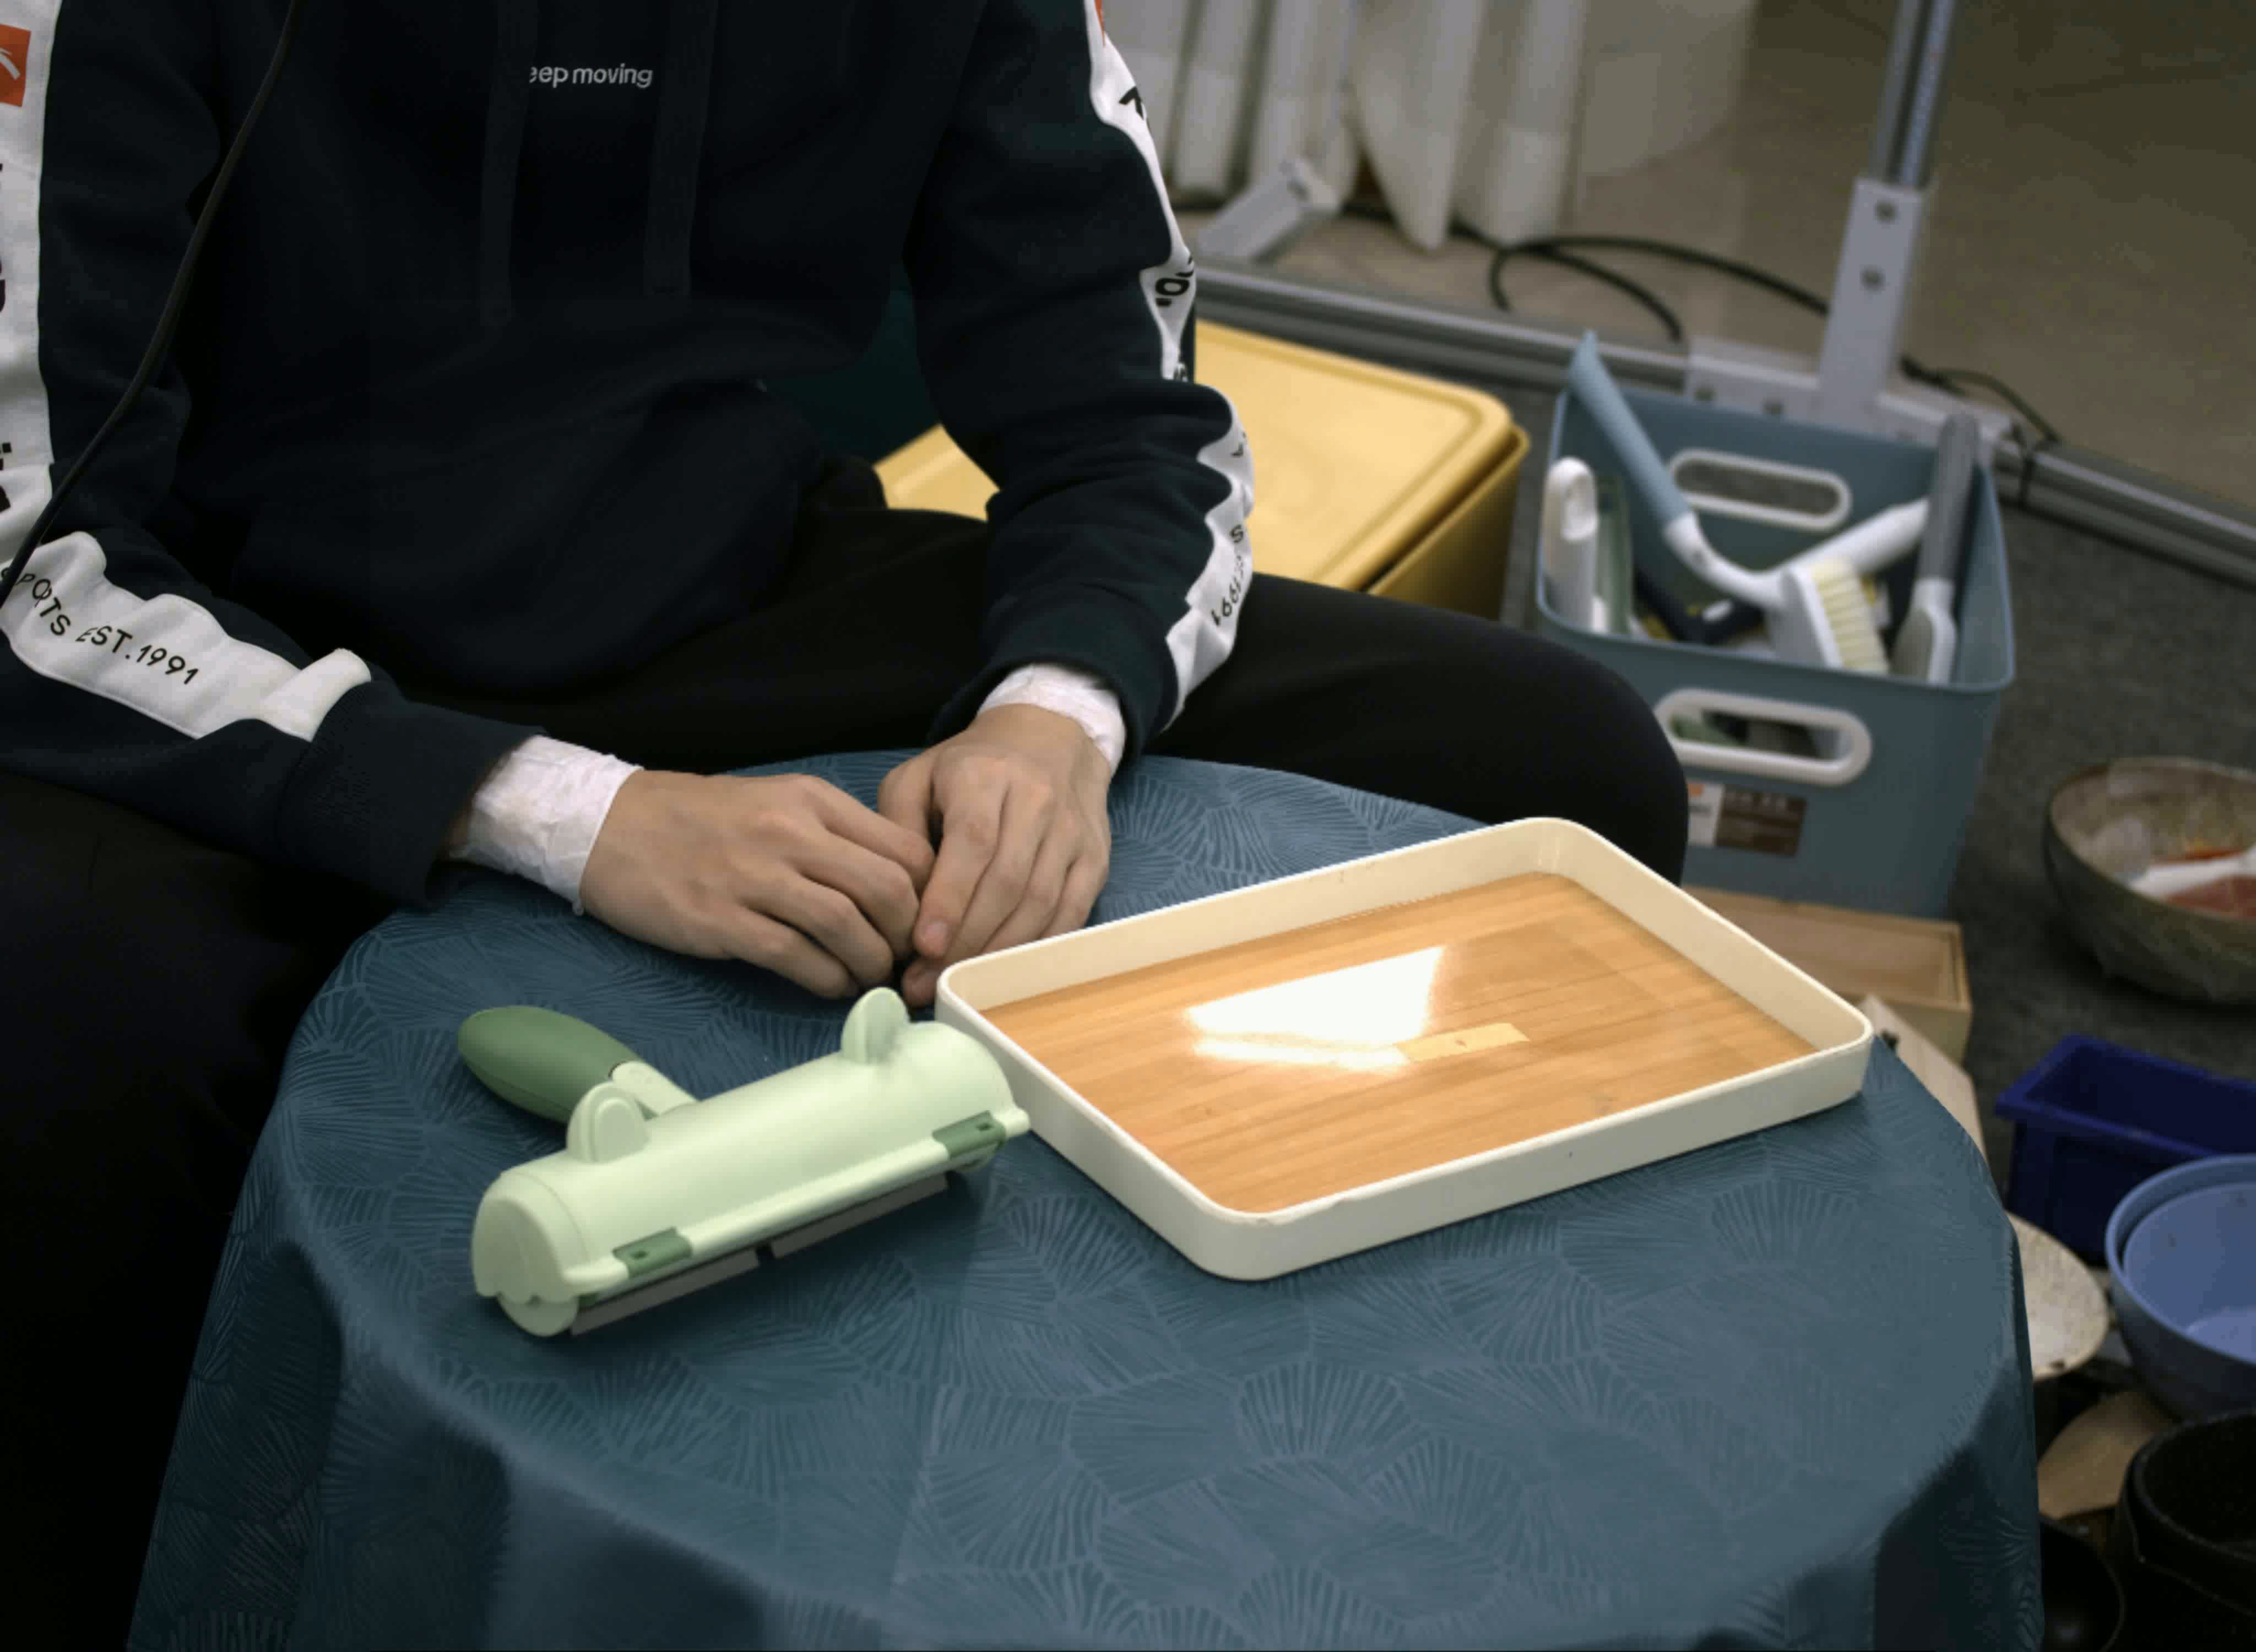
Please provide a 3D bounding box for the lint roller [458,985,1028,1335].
[{"bbox_3d":[-0.160,0.082,1.761,0.197,0.082,0.185,-18,40,-40],"label":"lint roller"}]

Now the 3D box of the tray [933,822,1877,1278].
[{"bbox_3d":[0.099,0.075,1.888,0.298,0.027,0.193,-13,32,-34],"label":"tray"}]
